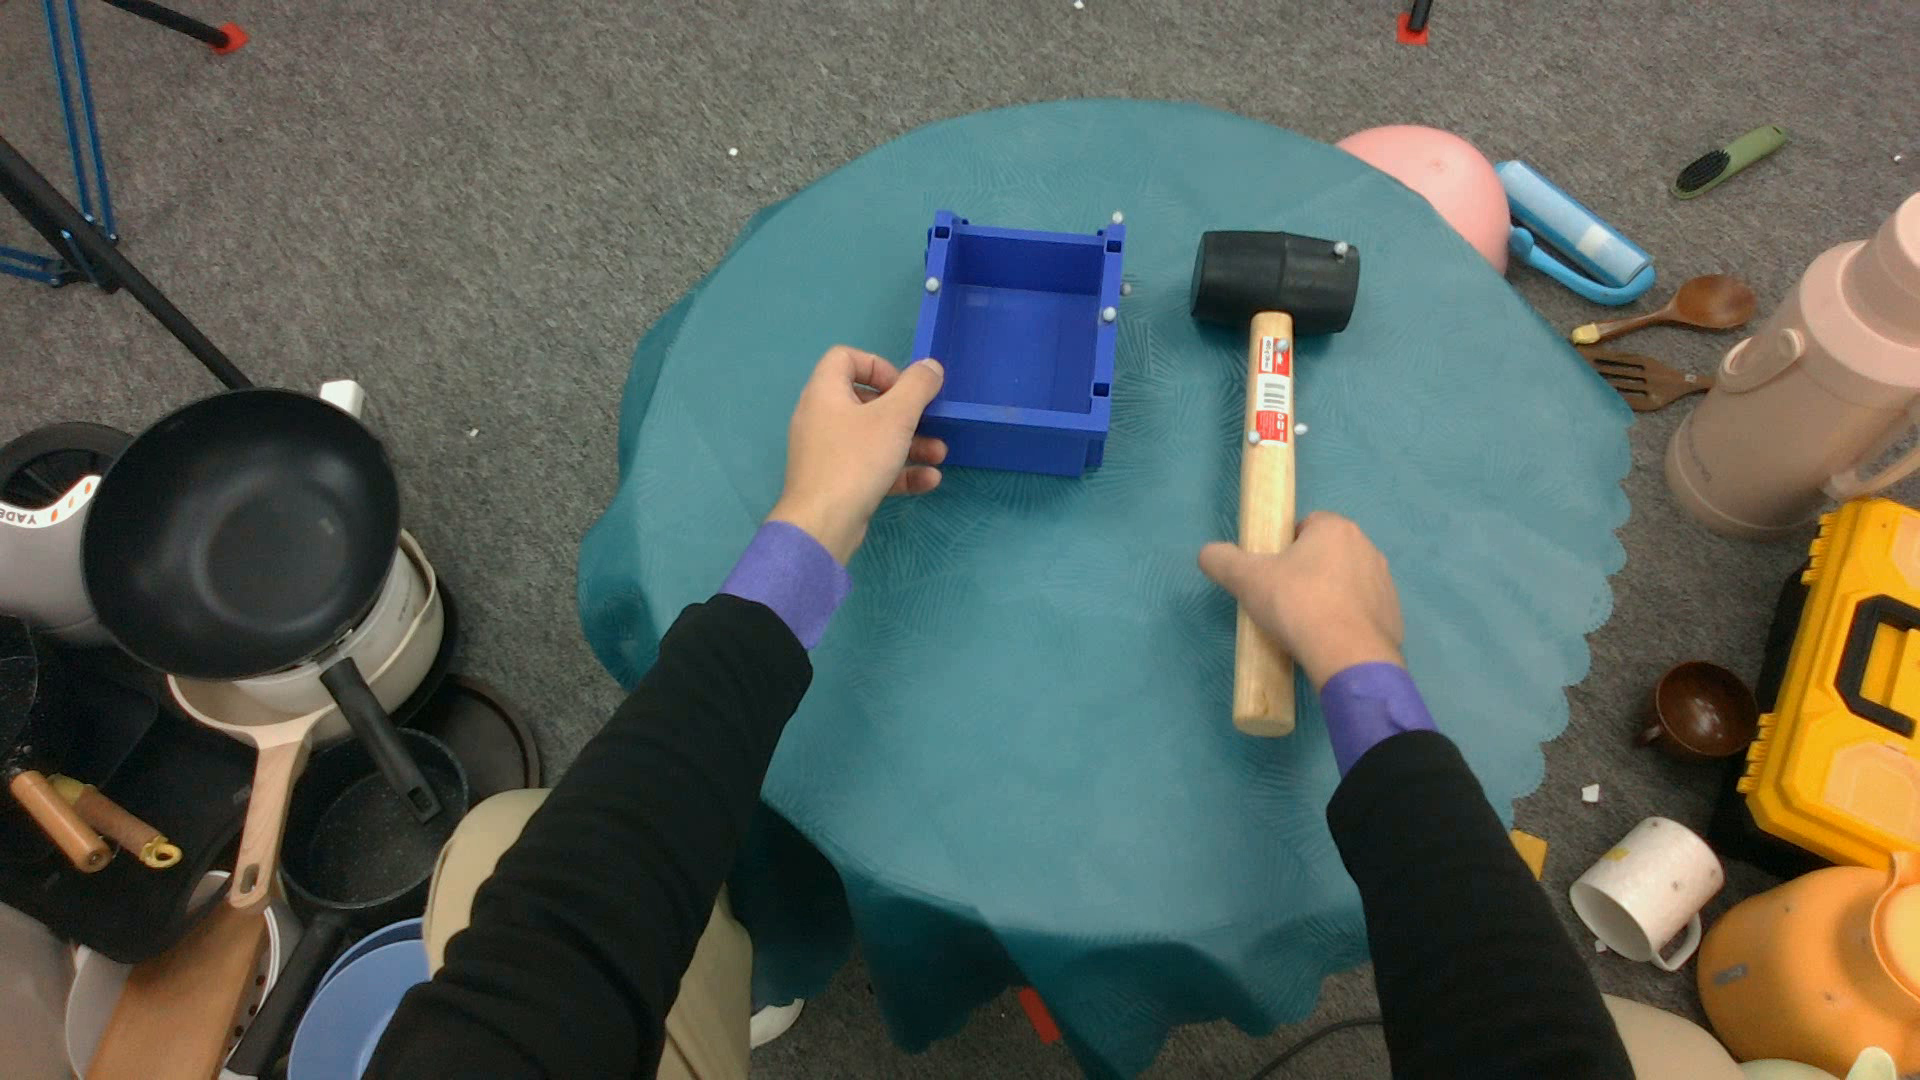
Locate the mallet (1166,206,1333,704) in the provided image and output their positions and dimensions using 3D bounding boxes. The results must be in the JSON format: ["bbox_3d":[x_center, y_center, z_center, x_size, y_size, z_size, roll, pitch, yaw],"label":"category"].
[{"bbox_3d":[0.169,-0.067,0.813,0.102,0.064,0.340,5,57,5],"label":"mallet"}]

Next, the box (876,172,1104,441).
[{"bbox_3d":[0.021,-0.153,0.864,0.124,0.081,0.180,6,67,4],"label":"box"}]
